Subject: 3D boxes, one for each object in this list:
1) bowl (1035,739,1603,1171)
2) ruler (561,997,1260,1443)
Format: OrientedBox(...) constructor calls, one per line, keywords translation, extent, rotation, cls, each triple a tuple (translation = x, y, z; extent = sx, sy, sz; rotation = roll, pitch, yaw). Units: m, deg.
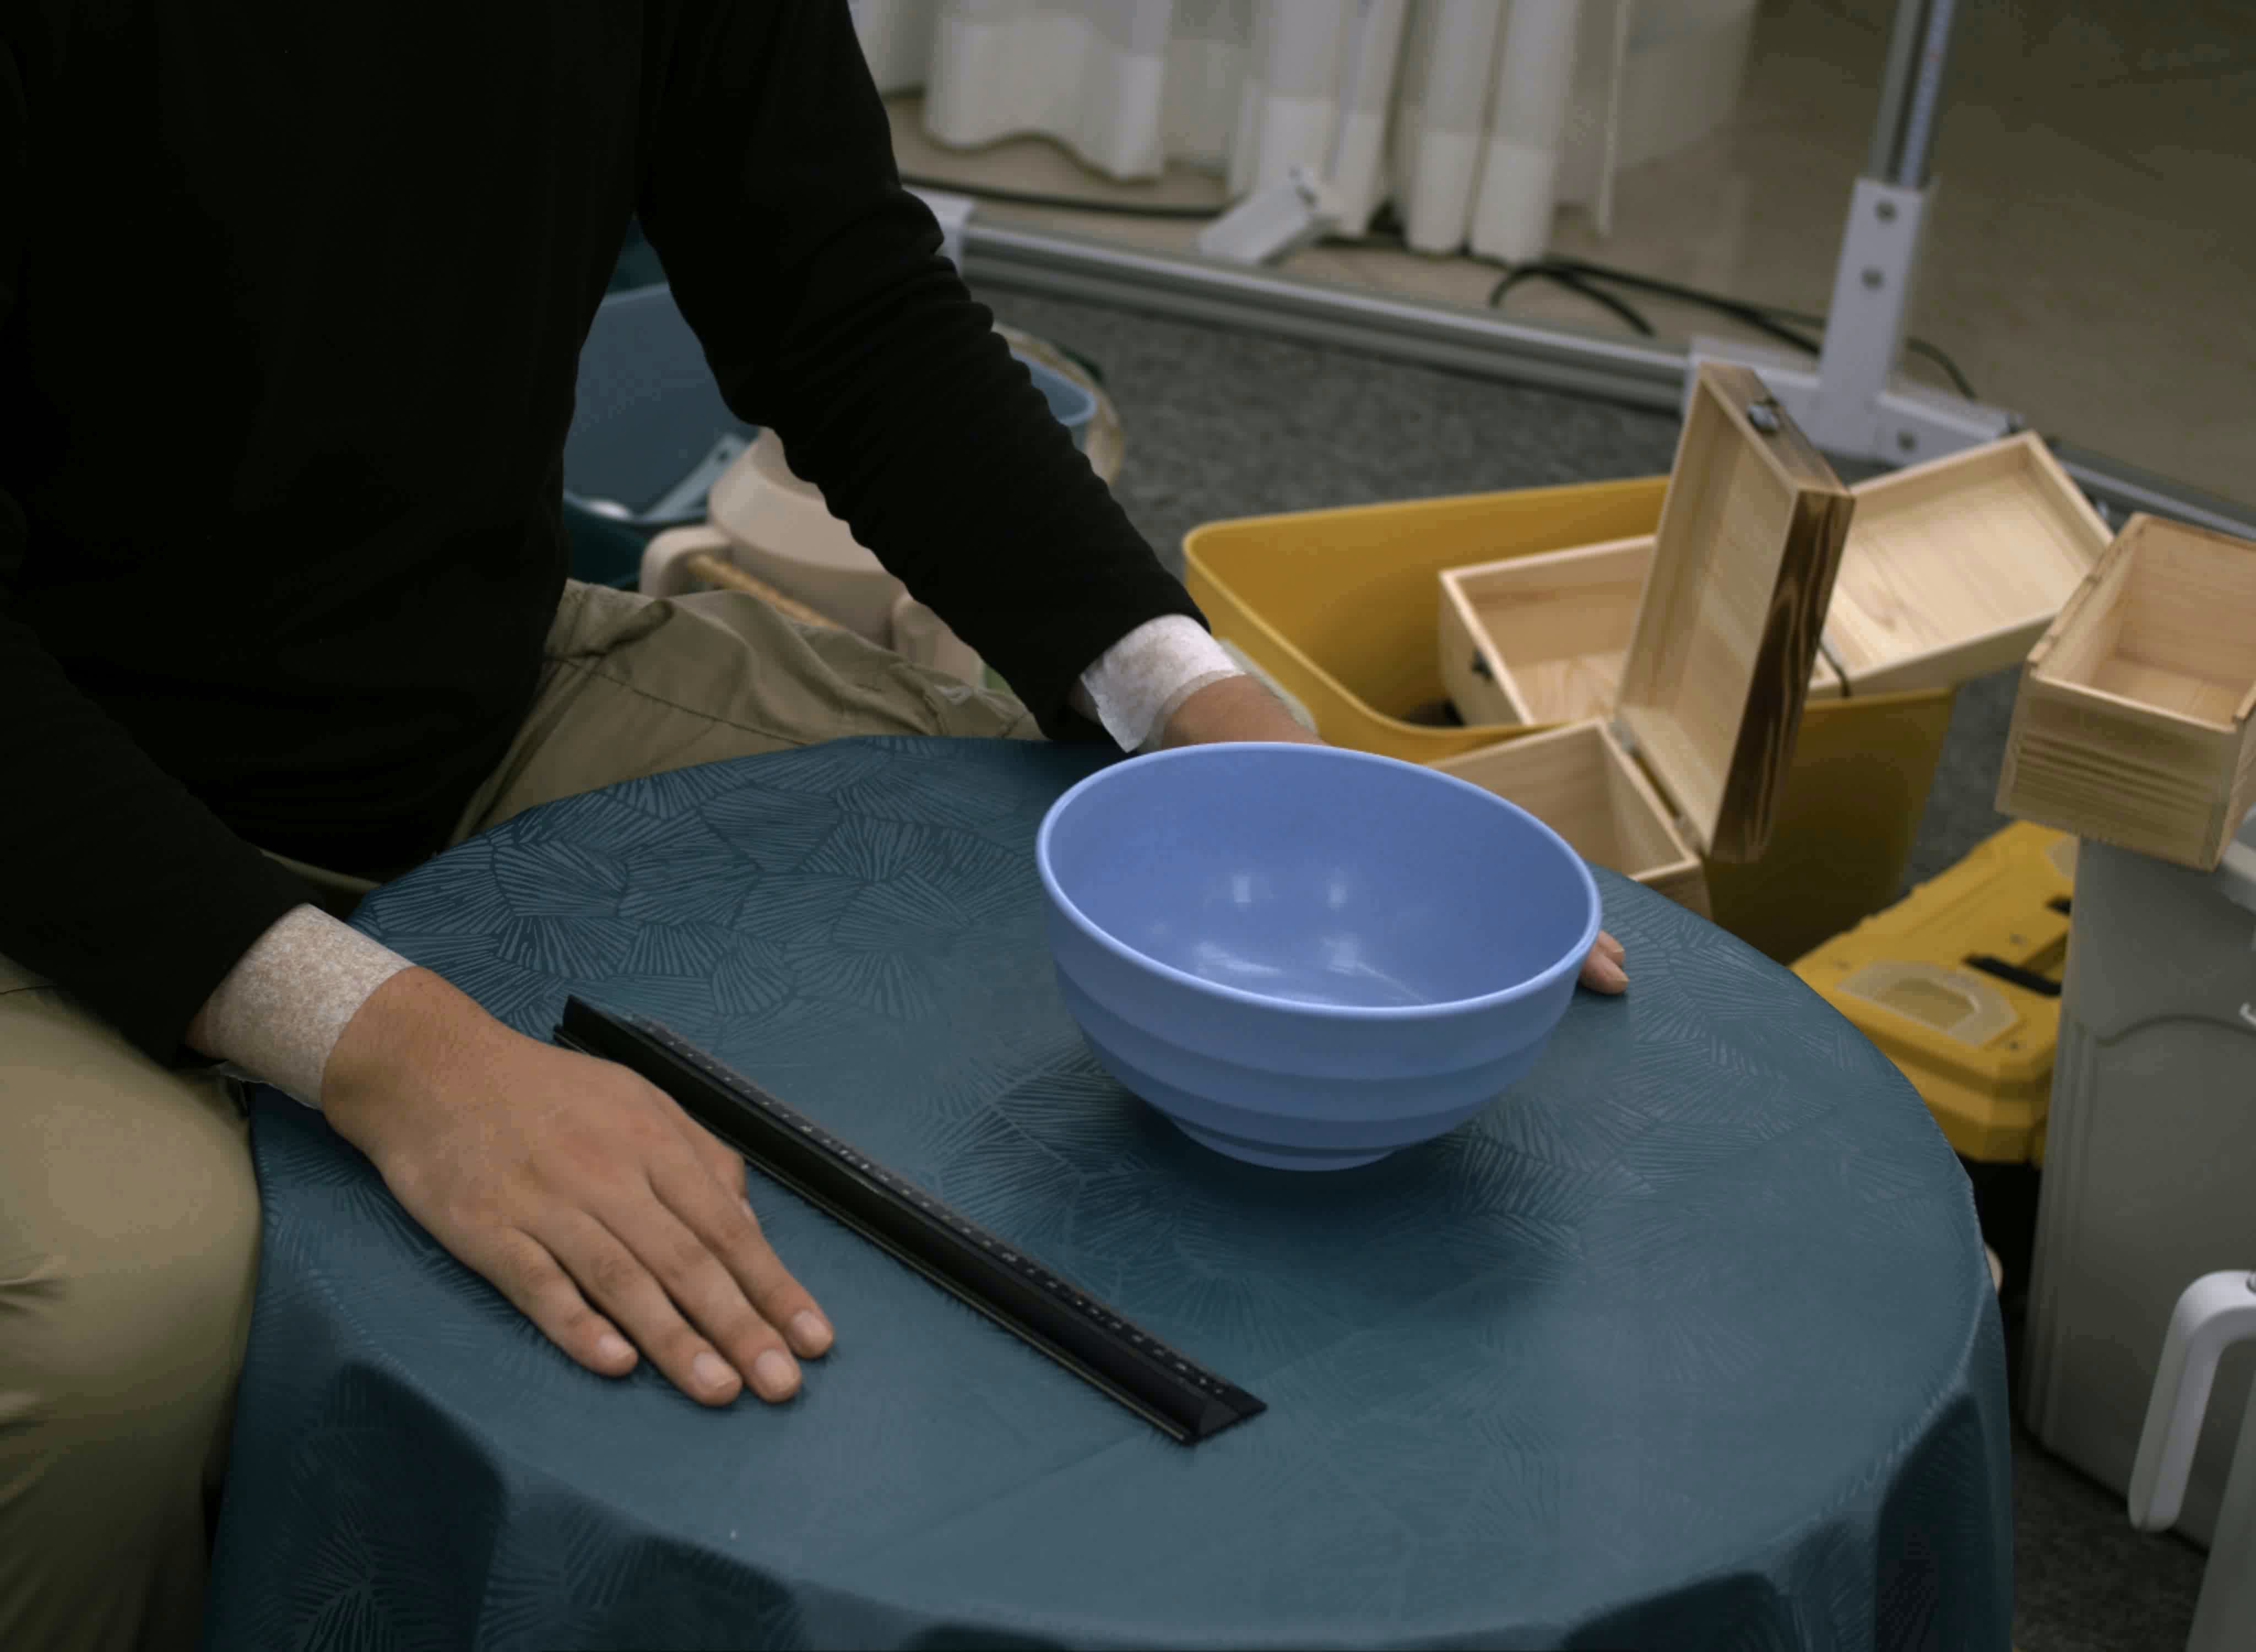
OrientedBox(translation=(0.060, 0.056, 1.844), extent=(0.196, 0.095, 0.197), rotation=(6, 27, -3), cls="bowl")
OrientedBox(translation=(-0.076, 0.123, 1.769), extent=(0.039, 0.017, 0.315), rotation=(-15, 33, -43), cls="ruler")
